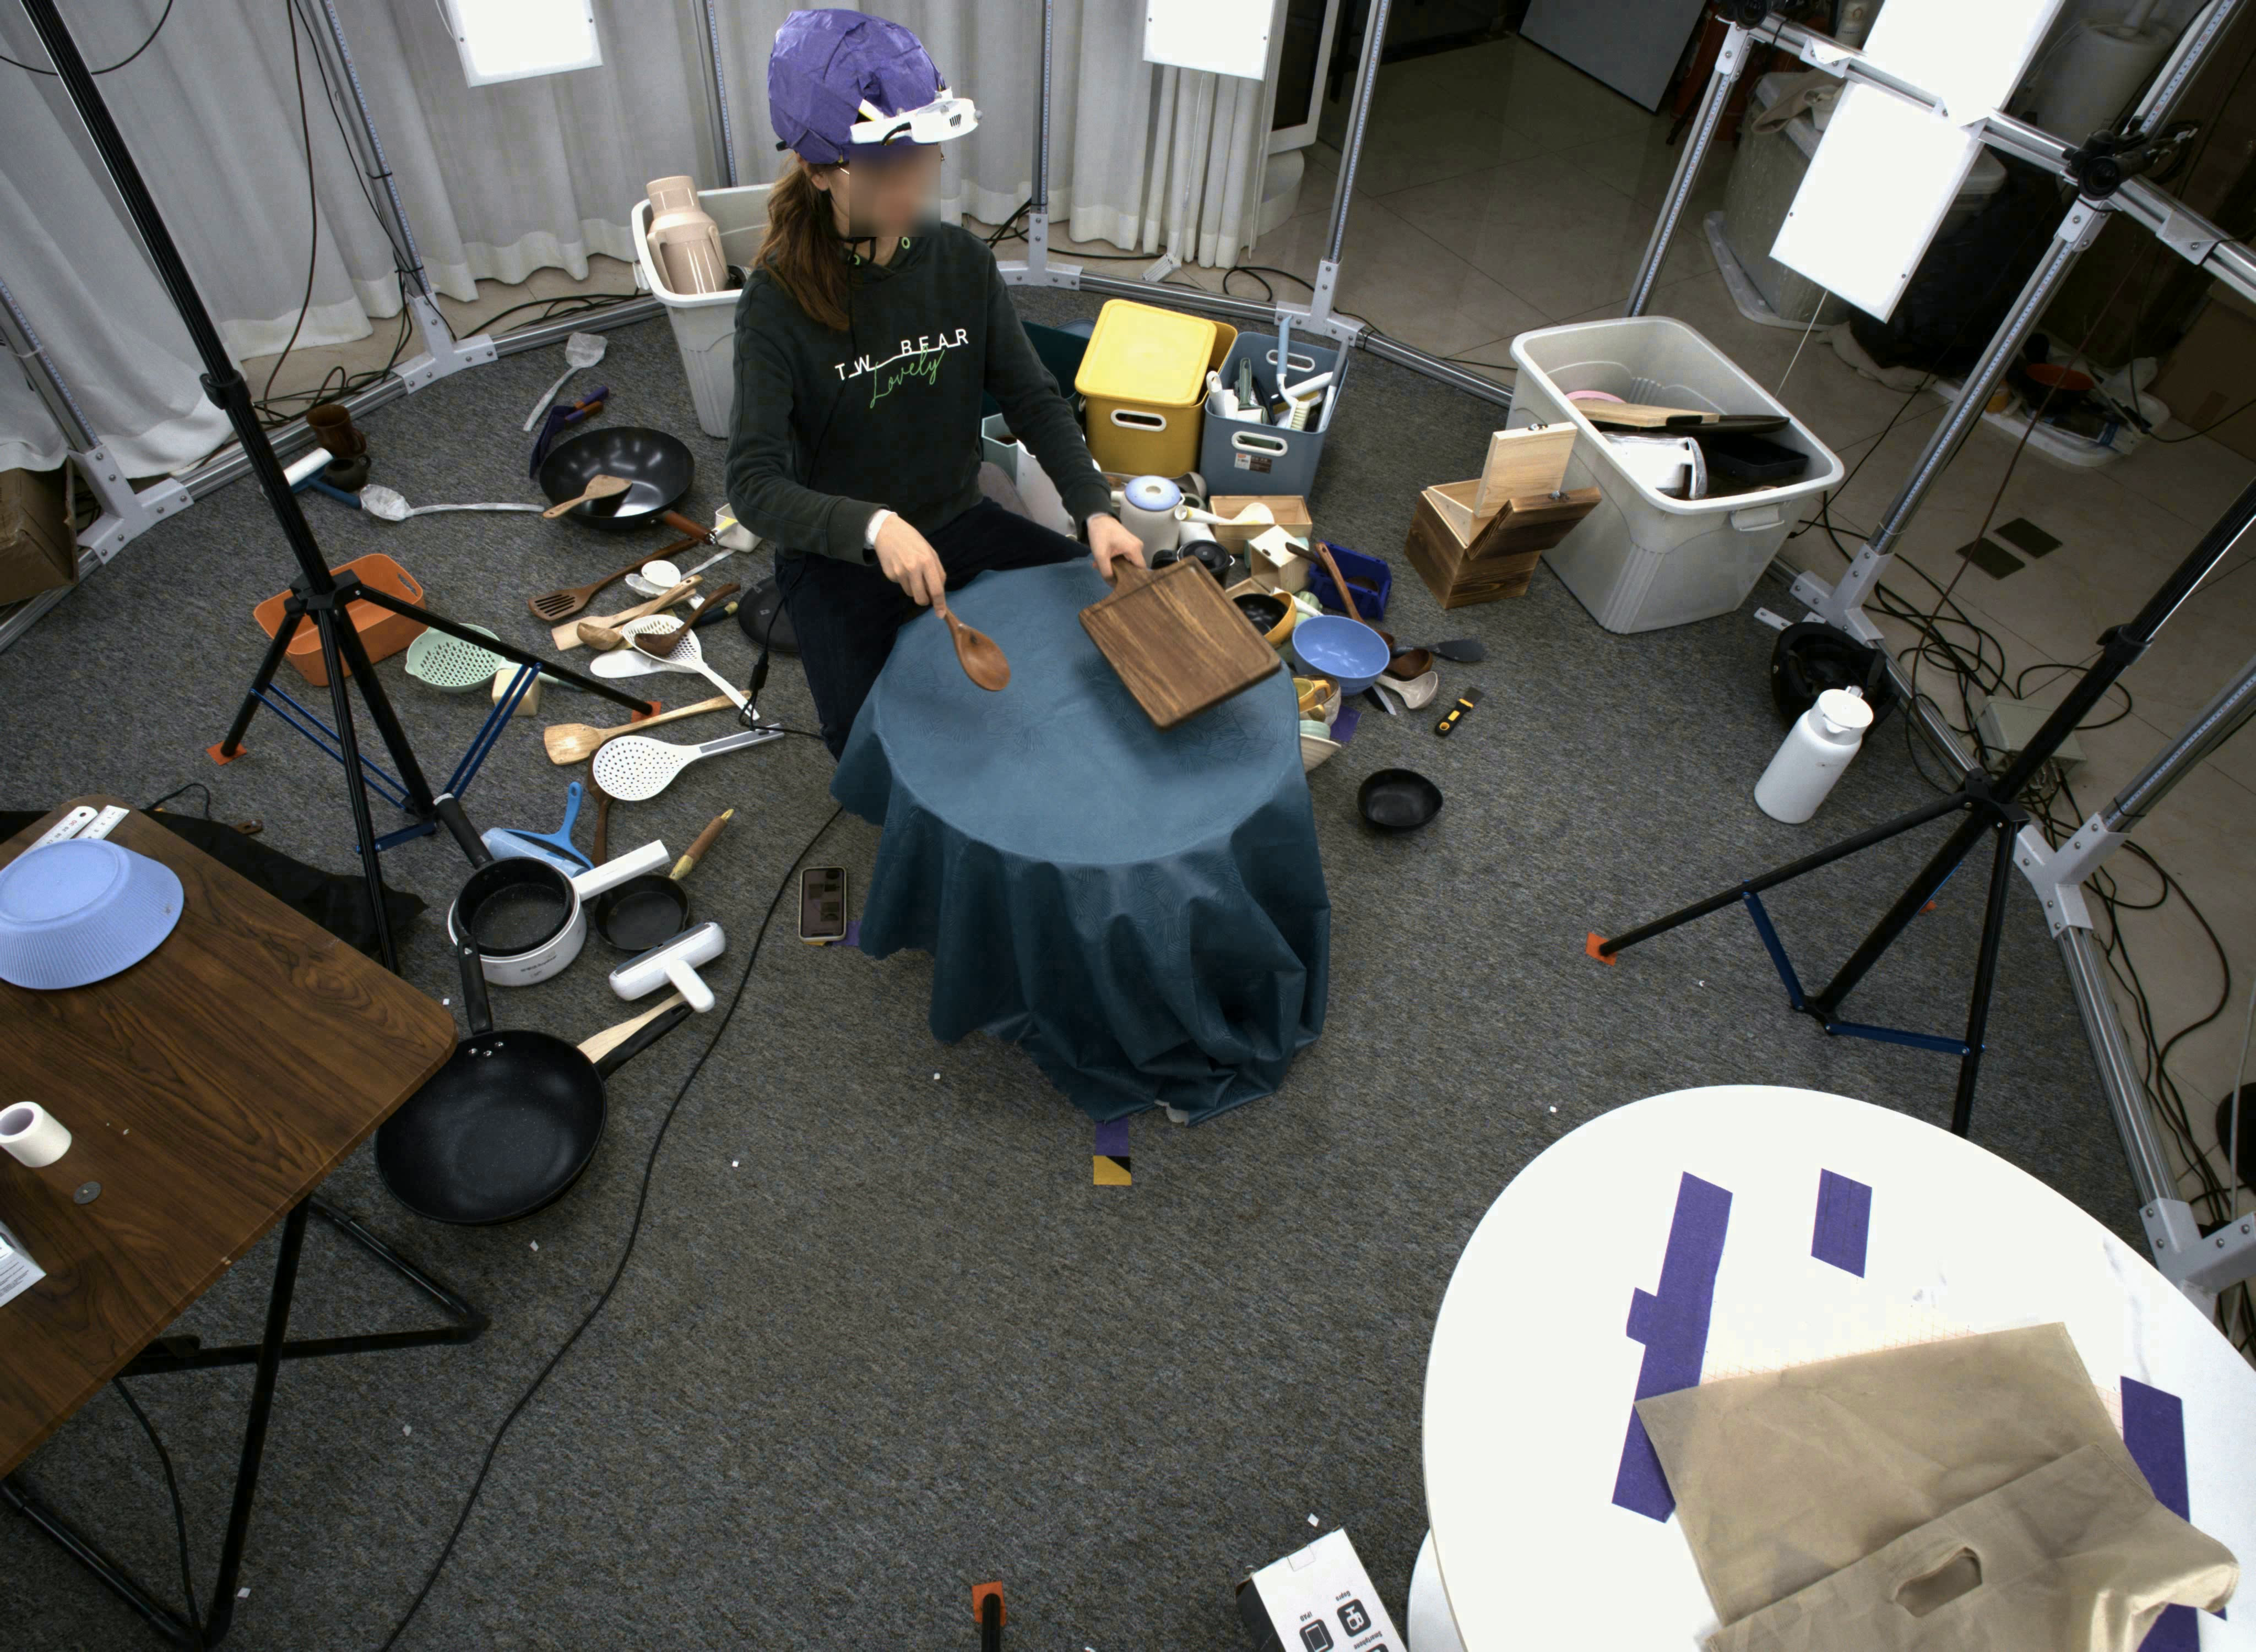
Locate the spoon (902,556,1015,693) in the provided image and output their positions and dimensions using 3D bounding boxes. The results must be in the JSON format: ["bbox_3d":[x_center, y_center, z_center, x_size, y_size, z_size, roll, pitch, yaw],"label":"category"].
[{"bbox_3d":[-0.226,-0.267,1.704,0.214,0.017,0.076,54,47,-8],"label":"spoon"}]

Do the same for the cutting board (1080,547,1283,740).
[{"bbox_3d":[0.049,-0.288,1.837,0.201,0.022,0.360,-29,55,-7],"label":"cutting board"}]
